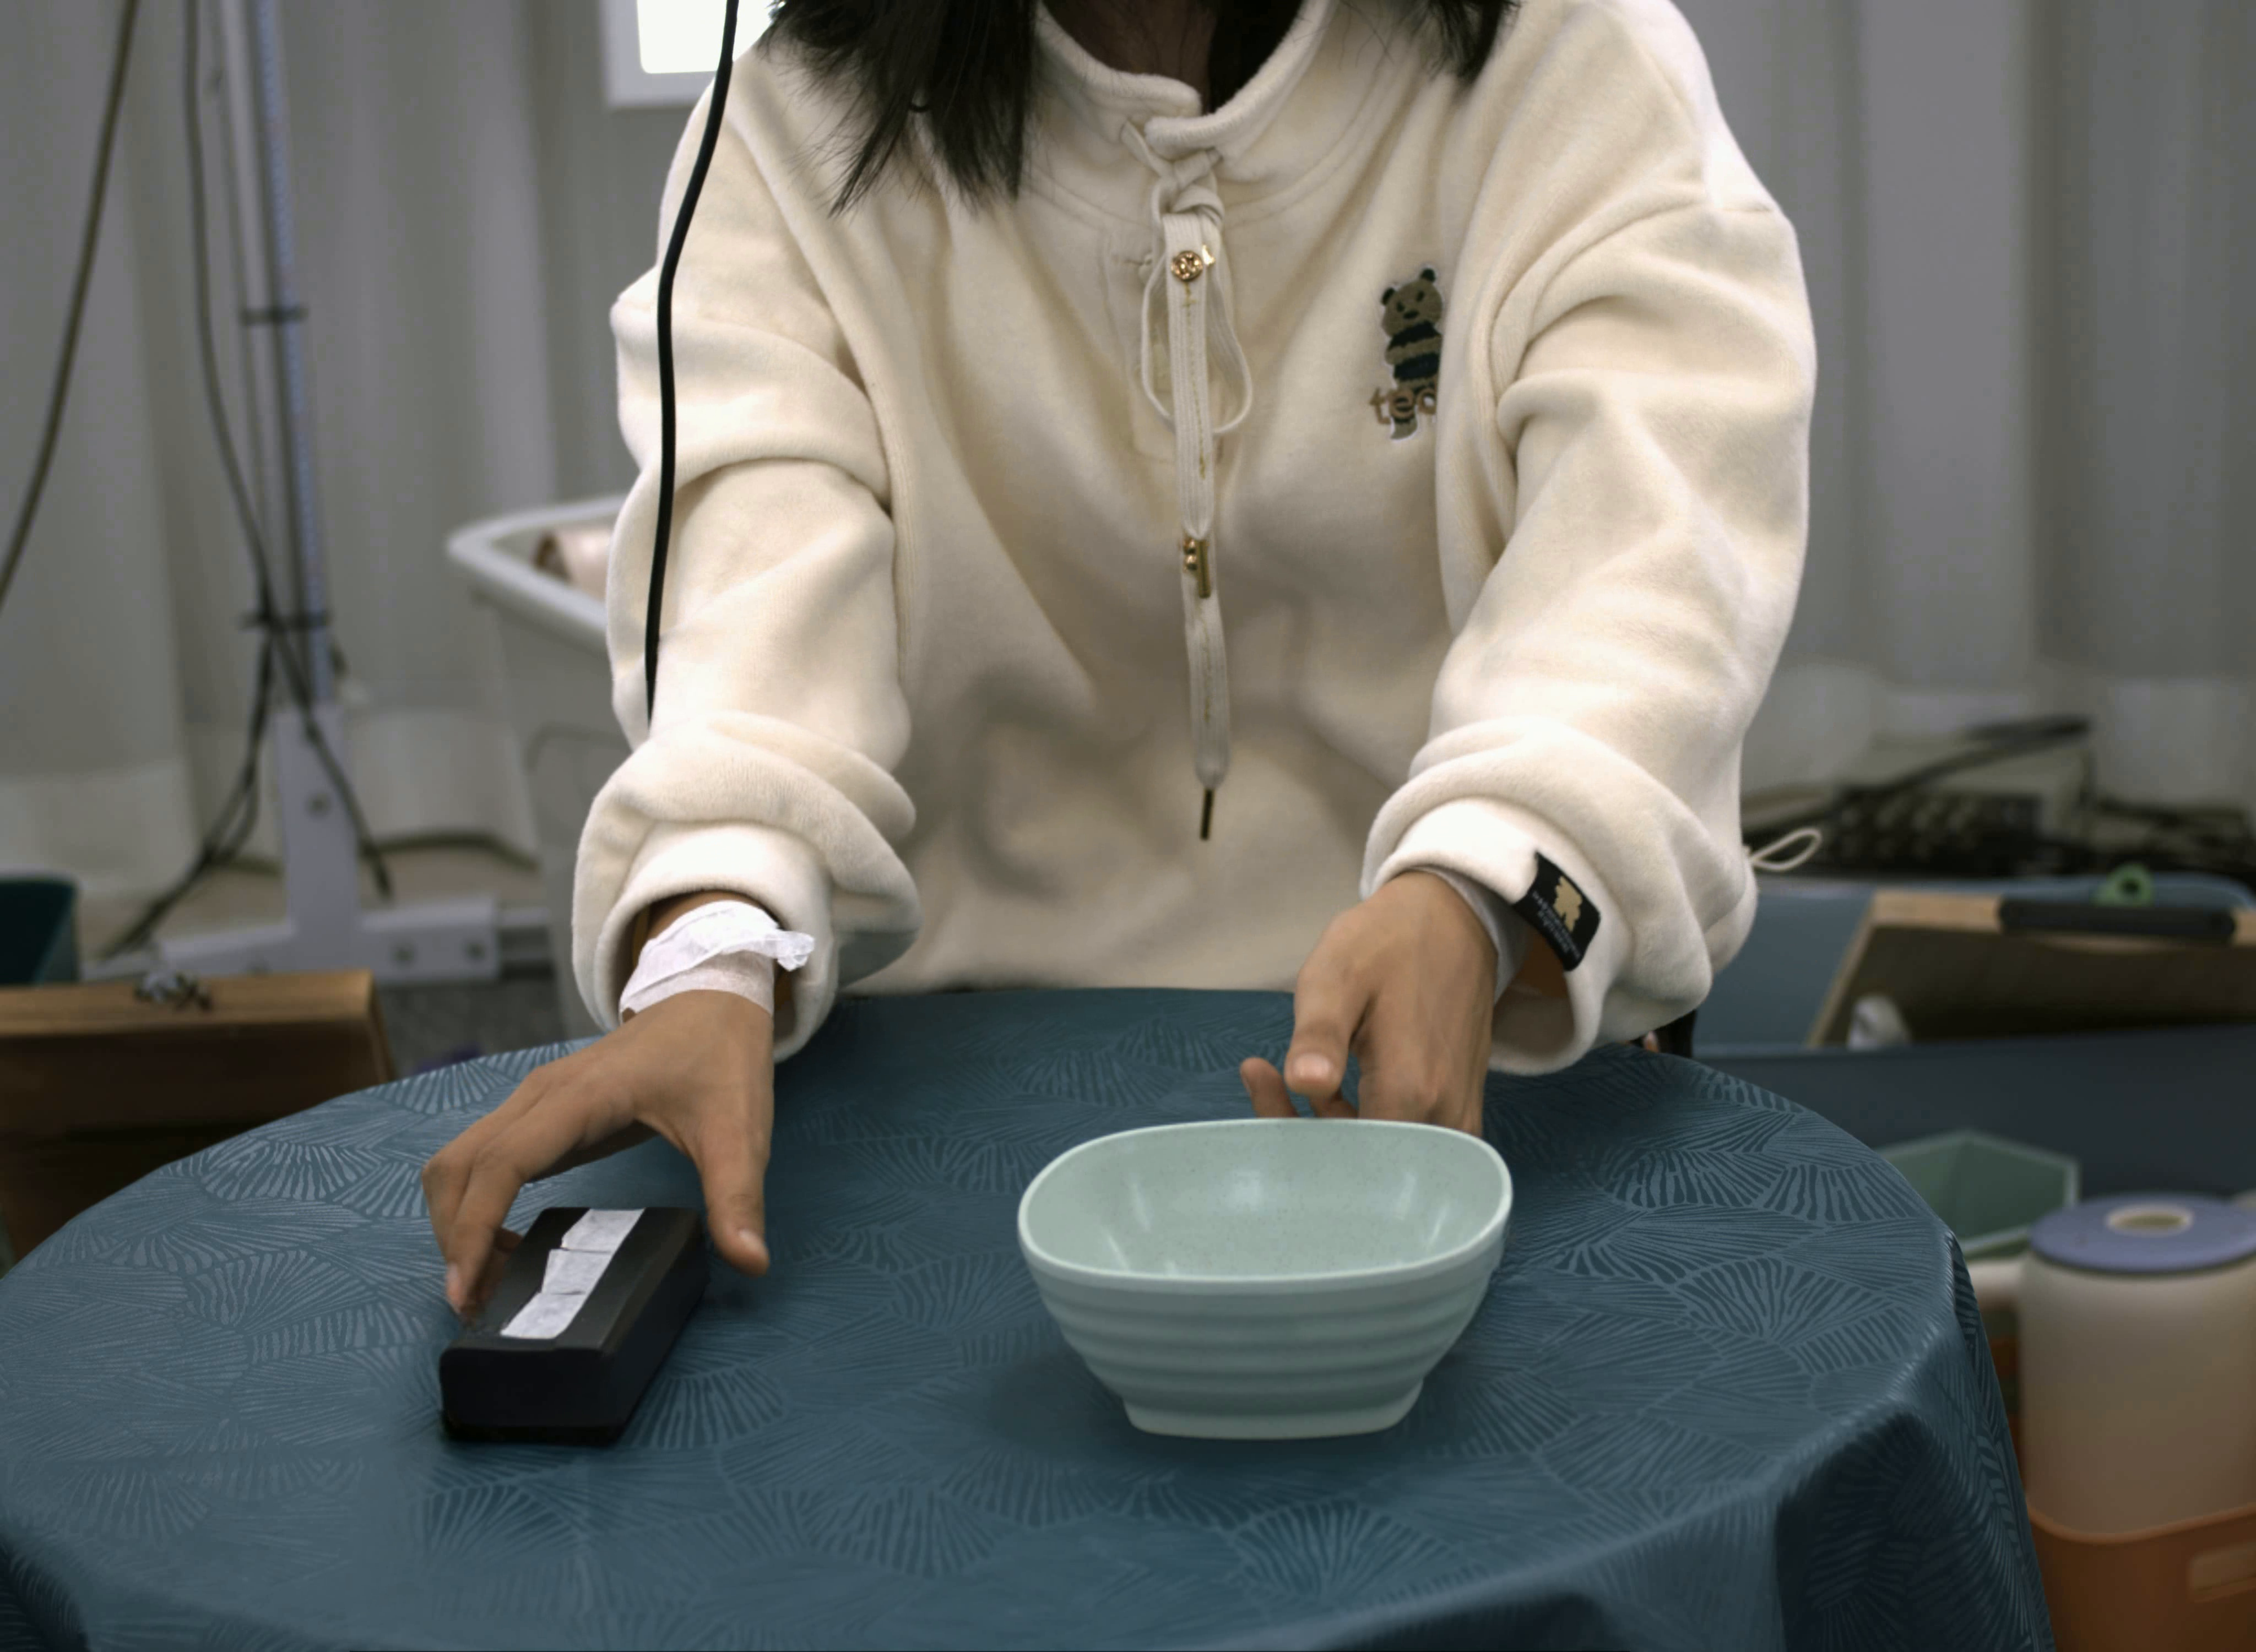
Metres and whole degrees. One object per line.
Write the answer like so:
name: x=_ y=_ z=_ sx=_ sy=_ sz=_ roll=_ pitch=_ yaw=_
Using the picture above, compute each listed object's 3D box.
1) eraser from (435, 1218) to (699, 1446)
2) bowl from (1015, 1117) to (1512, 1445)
eraser: x=-0.160 y=0.145 z=1.579 sx=0.053 sy=0.030 sz=0.126 roll=1 pitch=13 yaw=6
bowl: x=0.038 y=0.131 z=1.536 sx=0.151 sy=0.058 sz=0.152 roll=0 pitch=15 yaw=0
